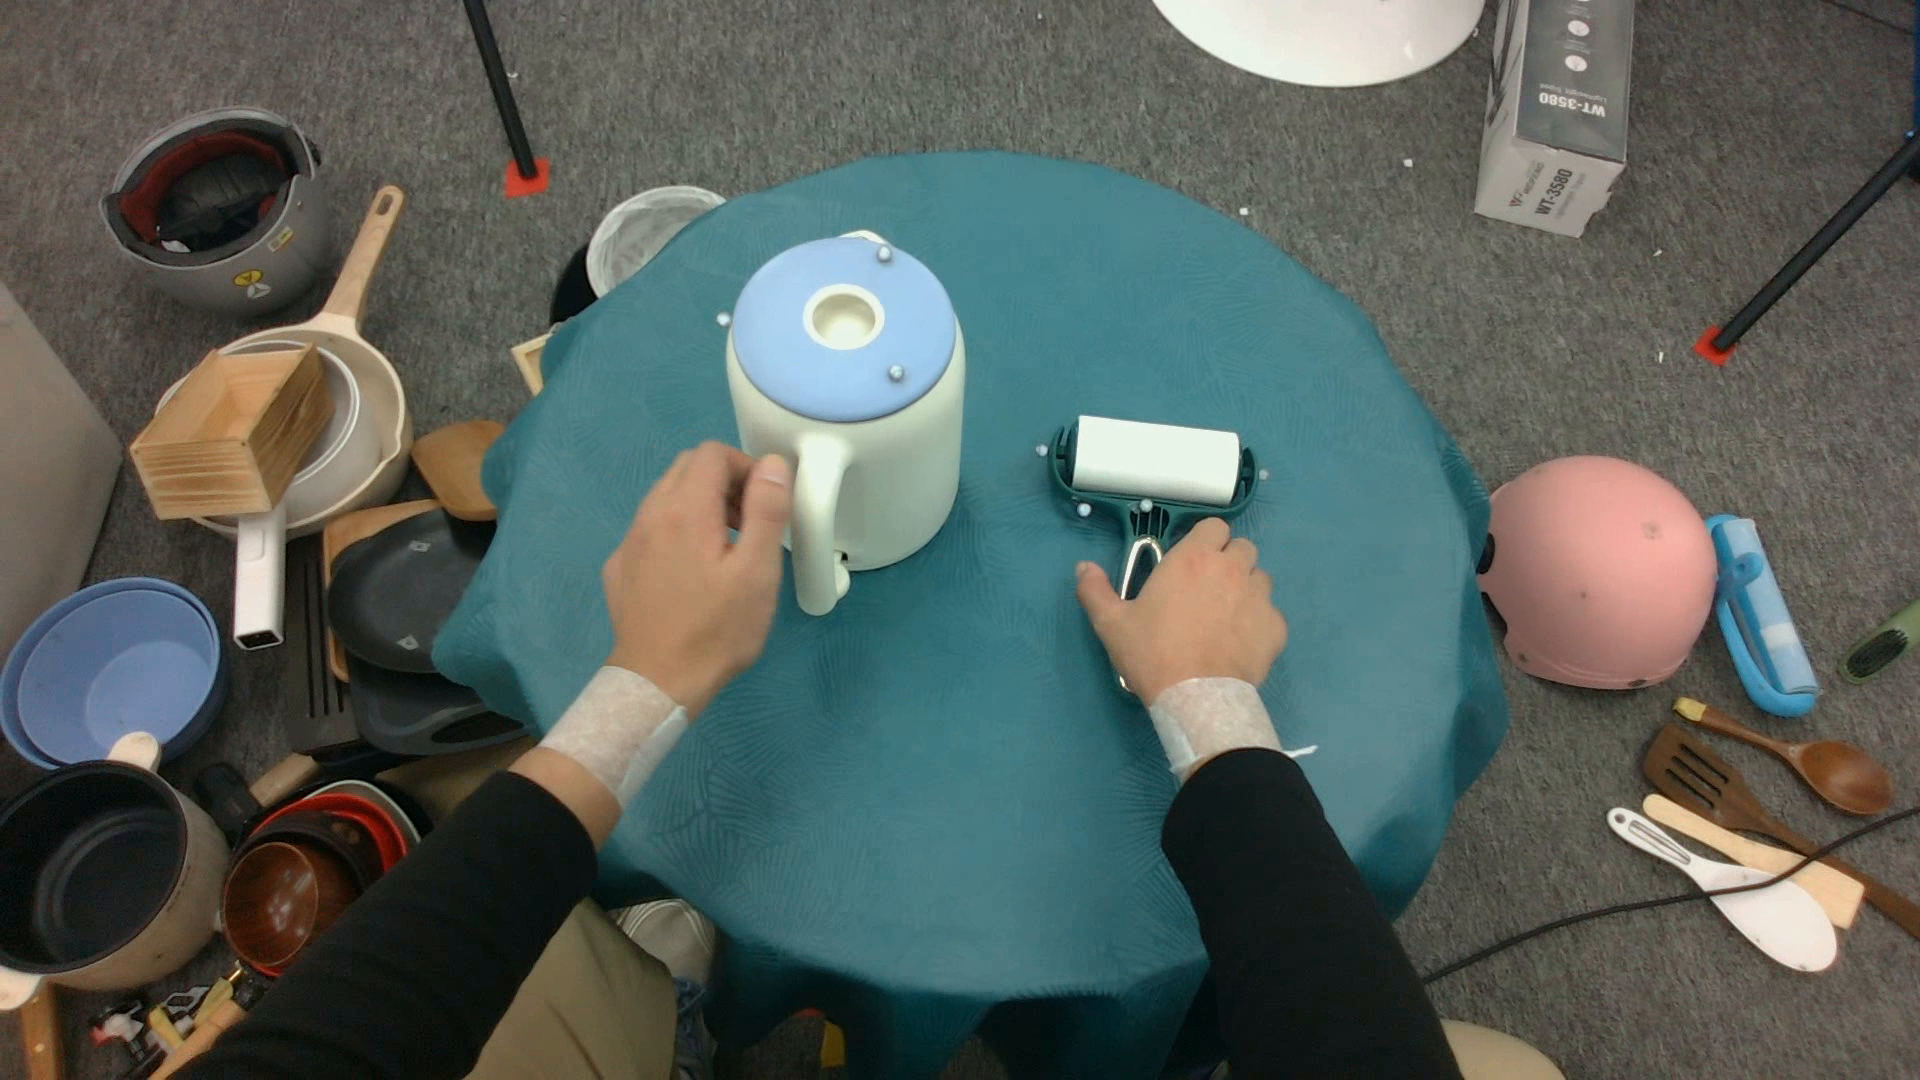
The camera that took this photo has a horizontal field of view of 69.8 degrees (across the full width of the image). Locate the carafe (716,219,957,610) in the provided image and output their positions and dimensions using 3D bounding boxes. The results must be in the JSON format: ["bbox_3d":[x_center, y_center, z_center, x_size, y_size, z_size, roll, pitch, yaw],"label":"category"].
[{"bbox_3d":[-0.072,-0.058,0.784,0.132,0.182,0.192,7,64,1],"label":"carafe"}]

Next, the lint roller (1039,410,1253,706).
[{"bbox_3d":[0.107,0.008,0.834,0.134,0.048,0.181,7,66,0],"label":"lint roller"}]
